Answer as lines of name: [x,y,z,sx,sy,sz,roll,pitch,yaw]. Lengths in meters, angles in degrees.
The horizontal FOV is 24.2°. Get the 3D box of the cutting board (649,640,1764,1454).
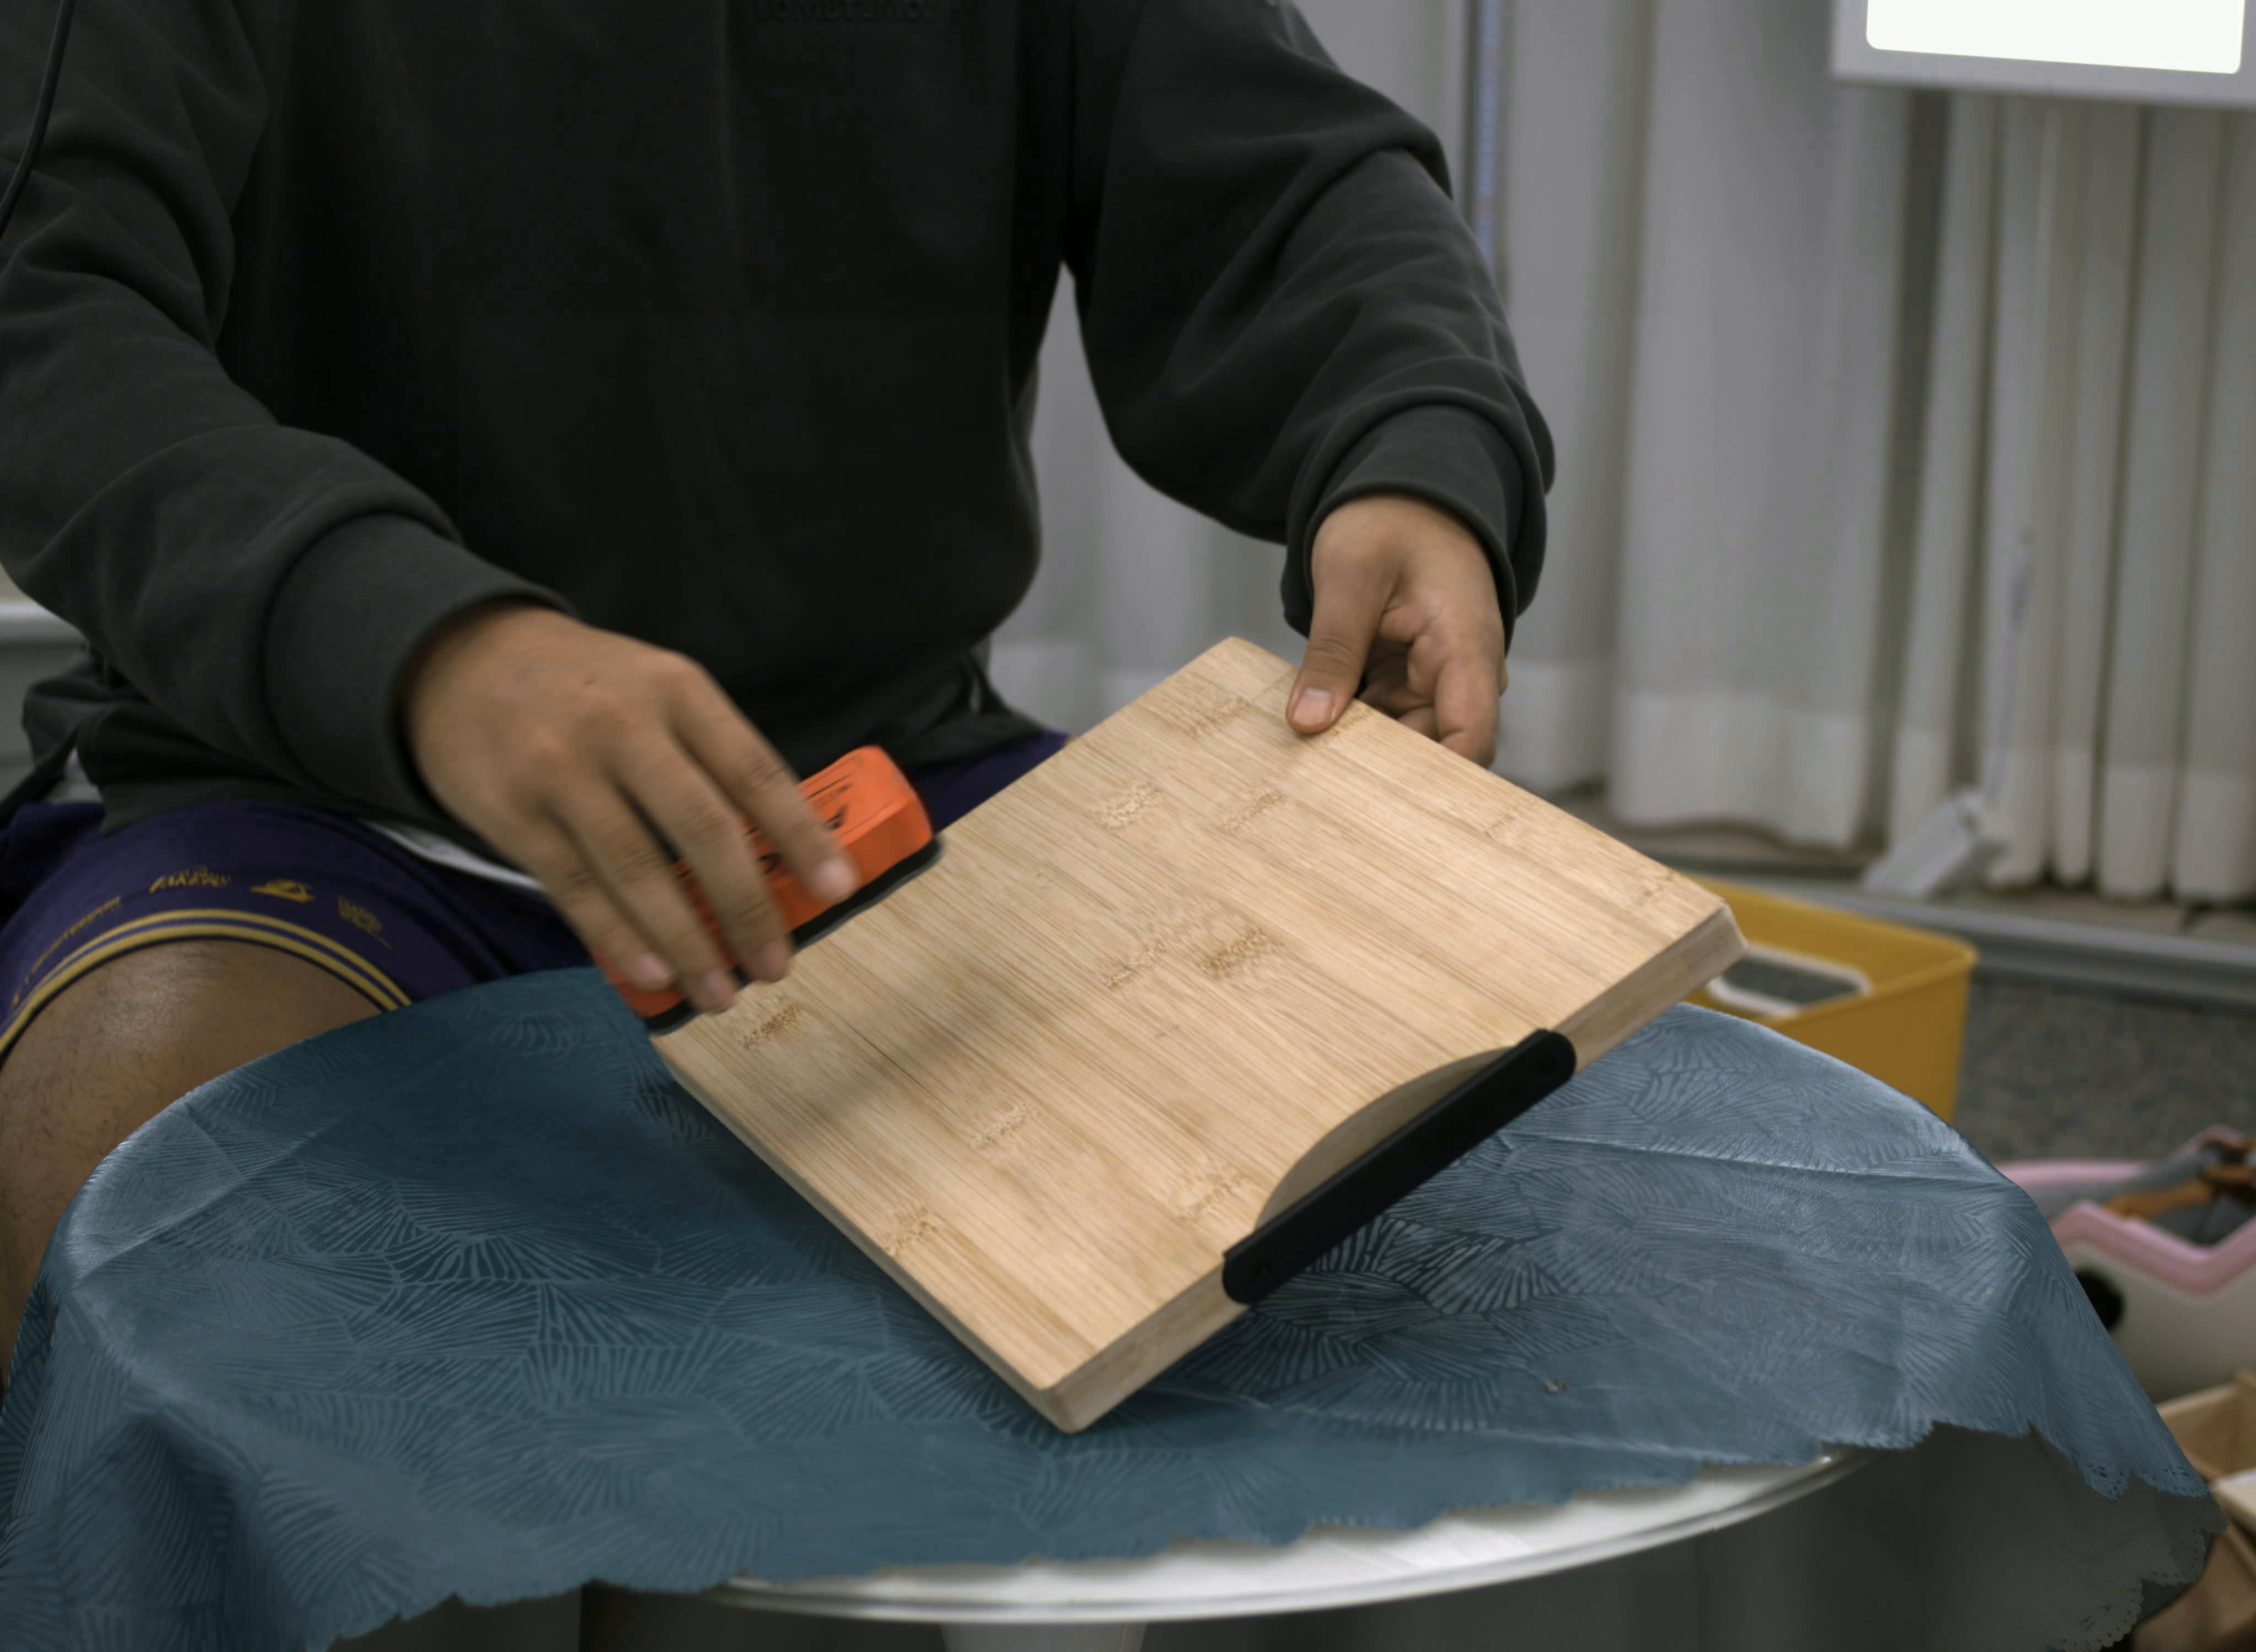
cutting board: [0.012,0.054,1.591,0.250,0.024,0.344,-35,26,-13]

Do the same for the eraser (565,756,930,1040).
eraser: [-0.115,0.021,1.591,0.108,0.023,0.058,-31,26,-6]
